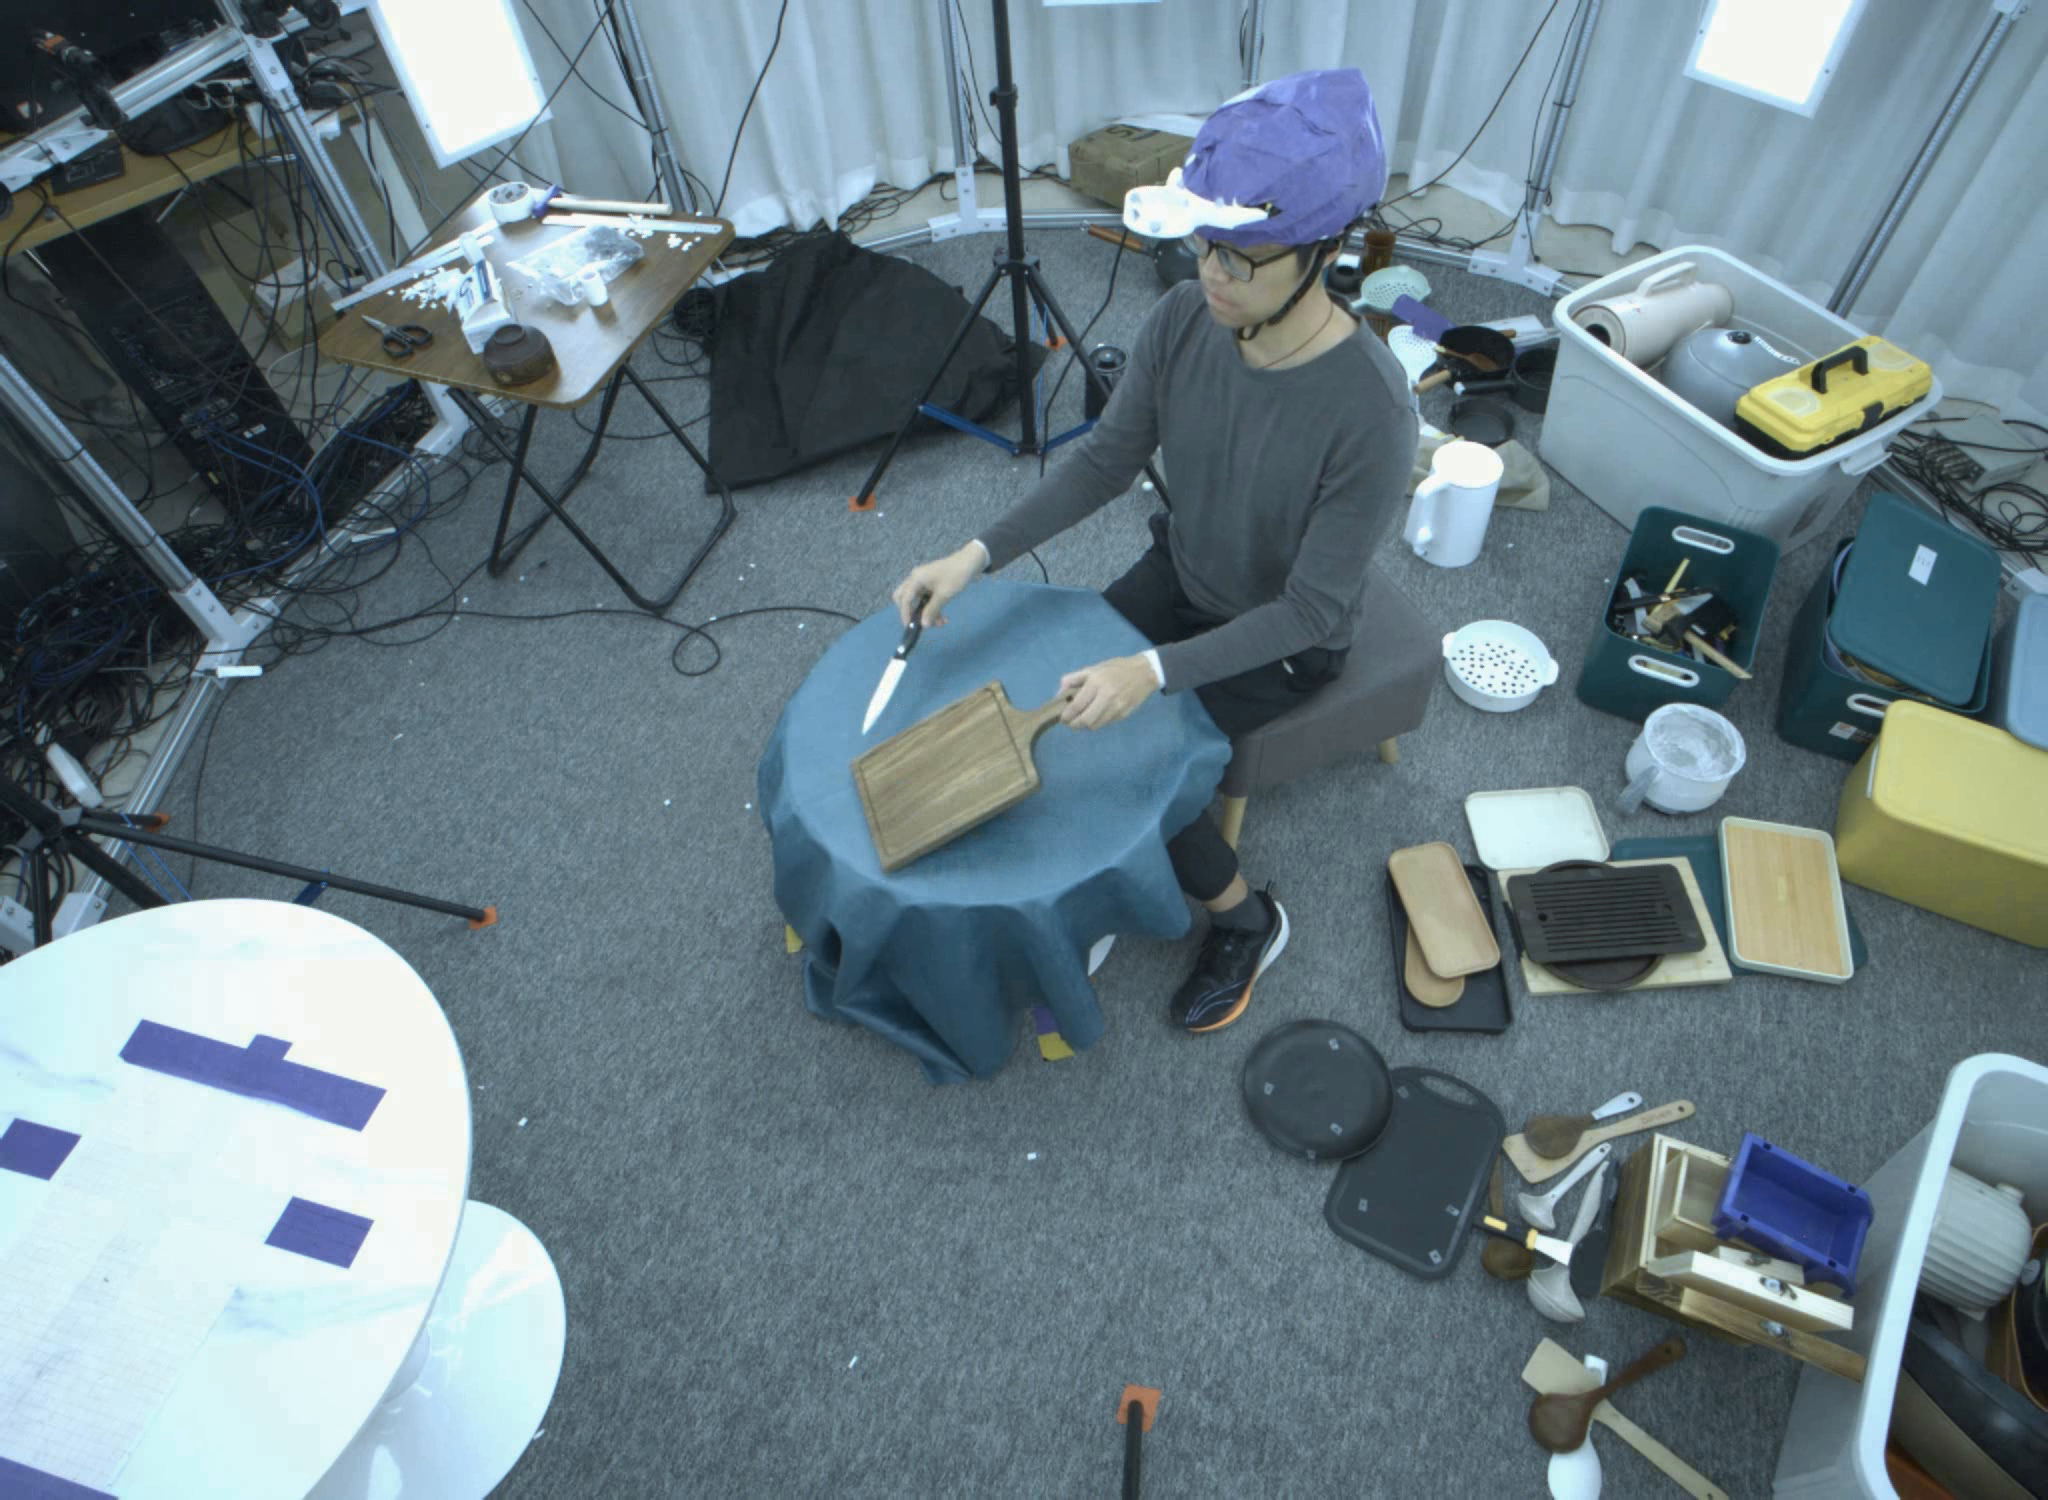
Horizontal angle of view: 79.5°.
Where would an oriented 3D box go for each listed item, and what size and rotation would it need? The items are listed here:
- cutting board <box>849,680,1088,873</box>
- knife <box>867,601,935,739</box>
[{"bbox_3d":[-0.069,0.011,1.704,0.351,0.023,0.197,-28,56,6],"label":"cutting board"},{"bbox_3d":[-0.185,-0.121,1.799,0.024,0.016,0.238,15,69,18],"label":"knife"}]
